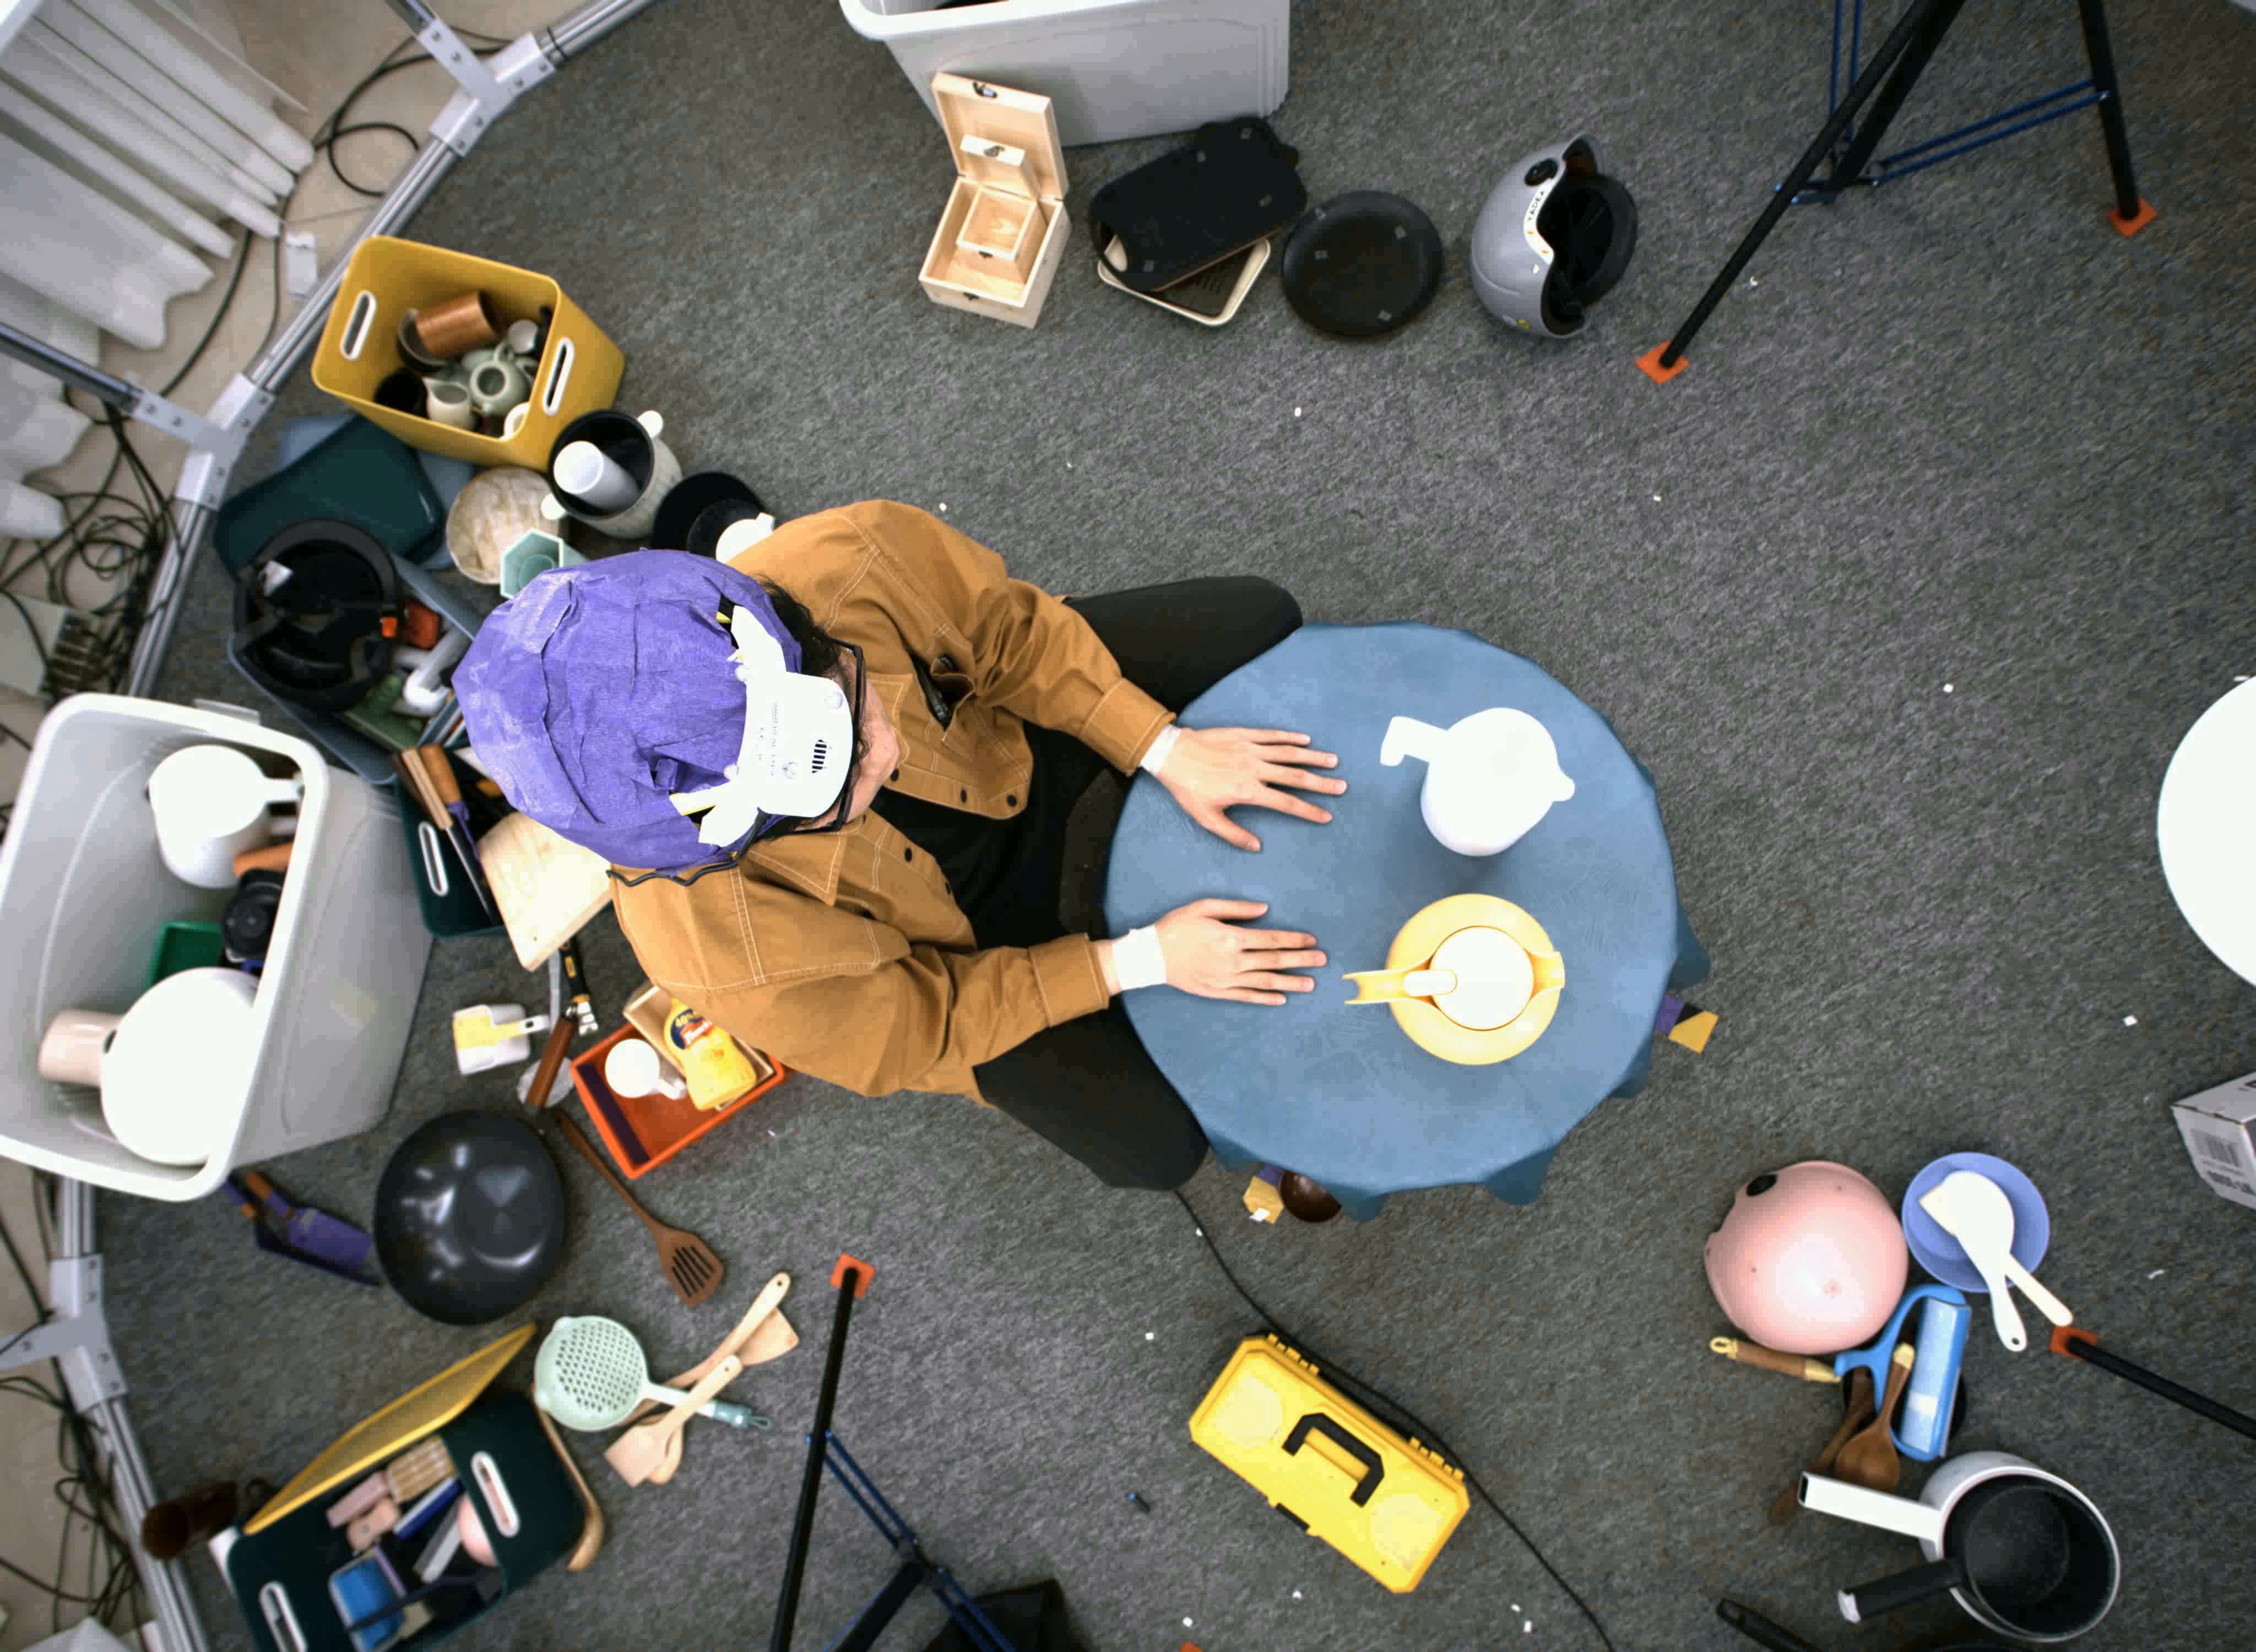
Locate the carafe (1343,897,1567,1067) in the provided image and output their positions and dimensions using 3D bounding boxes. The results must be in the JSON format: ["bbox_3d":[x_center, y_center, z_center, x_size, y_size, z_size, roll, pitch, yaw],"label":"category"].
[{"bbox_3d":[0.307,0.146,1.316,0.203,0.261,0.162,-3,81,9],"label":"carafe"}]

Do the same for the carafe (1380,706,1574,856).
[{"bbox_3d":[0.328,-0.046,1.320,0.173,0.268,0.124,20,91,12],"label":"carafe"}]
